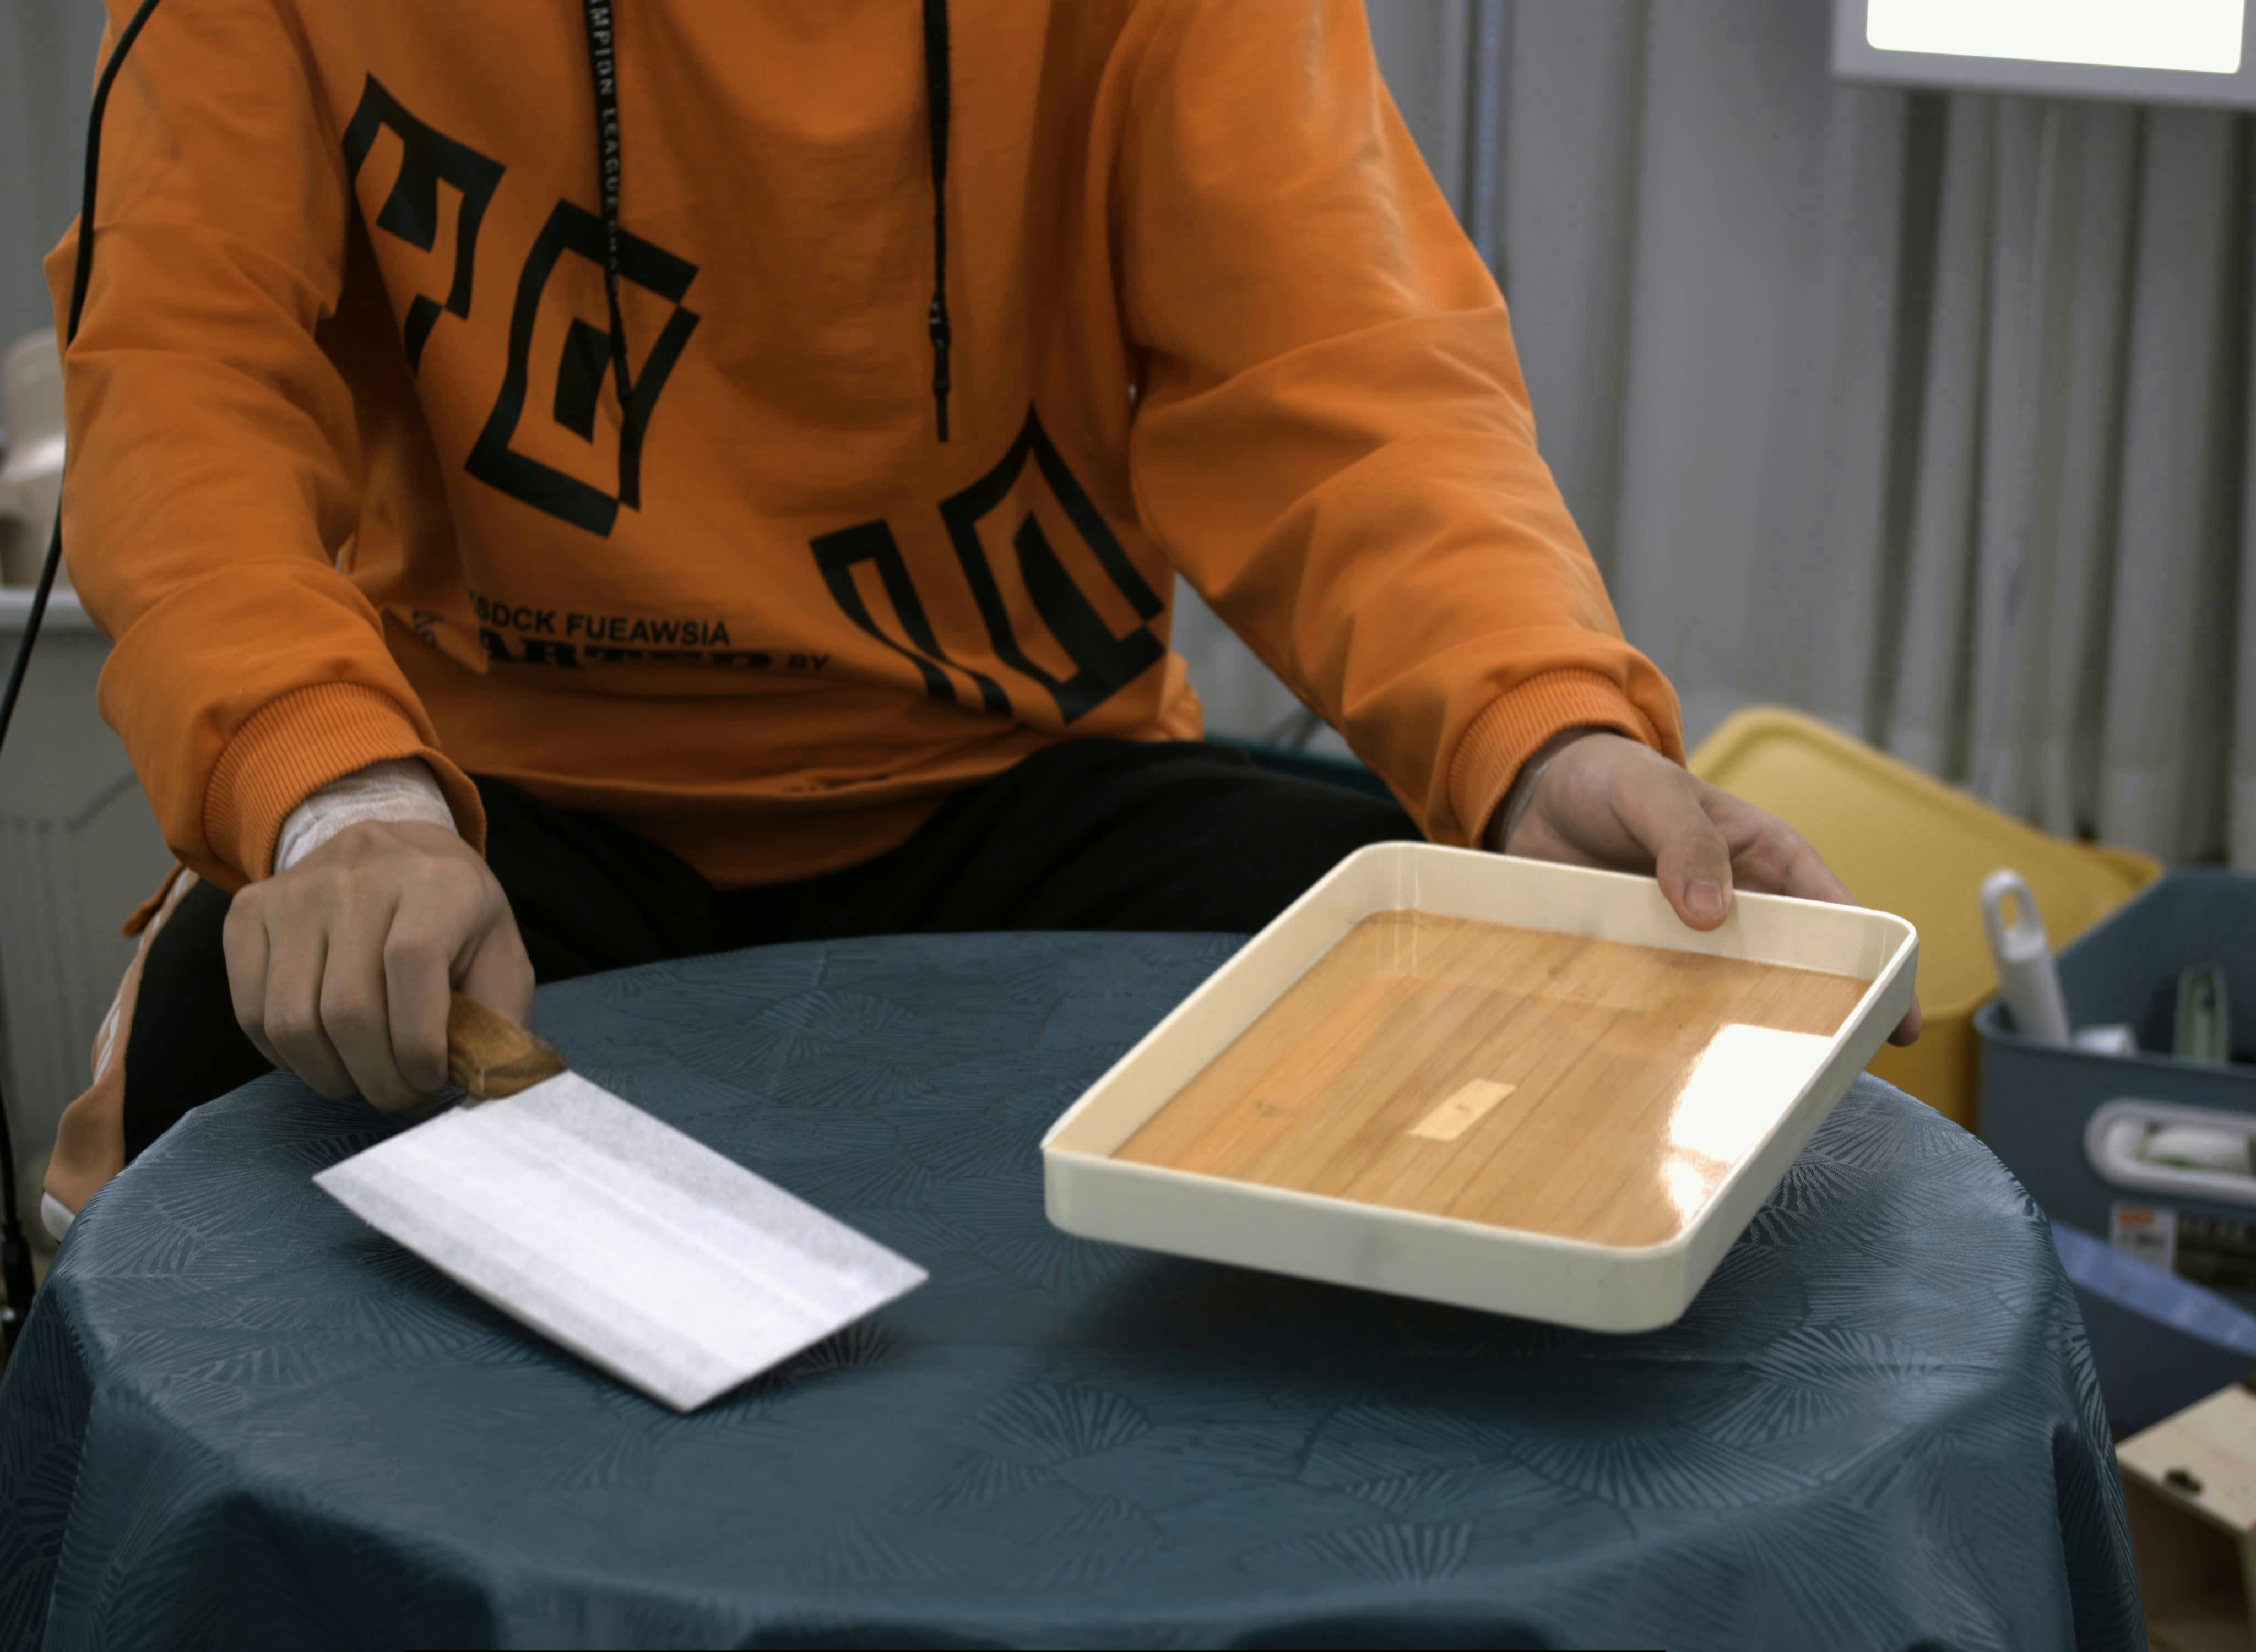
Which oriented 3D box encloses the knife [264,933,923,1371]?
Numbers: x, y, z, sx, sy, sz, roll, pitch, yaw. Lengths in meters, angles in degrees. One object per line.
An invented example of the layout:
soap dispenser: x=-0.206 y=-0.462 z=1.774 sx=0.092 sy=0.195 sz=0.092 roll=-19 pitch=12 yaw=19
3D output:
knife: x=-0.185 y=0.097 z=1.568 sx=0.093 sy=0.021 sz=0.301 roll=-27 pitch=34 yaw=-33

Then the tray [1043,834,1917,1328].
tray: x=0.112 y=0.070 z=1.580 sx=0.190 sy=0.027 sz=0.300 roll=10 pitch=20 yaw=19
